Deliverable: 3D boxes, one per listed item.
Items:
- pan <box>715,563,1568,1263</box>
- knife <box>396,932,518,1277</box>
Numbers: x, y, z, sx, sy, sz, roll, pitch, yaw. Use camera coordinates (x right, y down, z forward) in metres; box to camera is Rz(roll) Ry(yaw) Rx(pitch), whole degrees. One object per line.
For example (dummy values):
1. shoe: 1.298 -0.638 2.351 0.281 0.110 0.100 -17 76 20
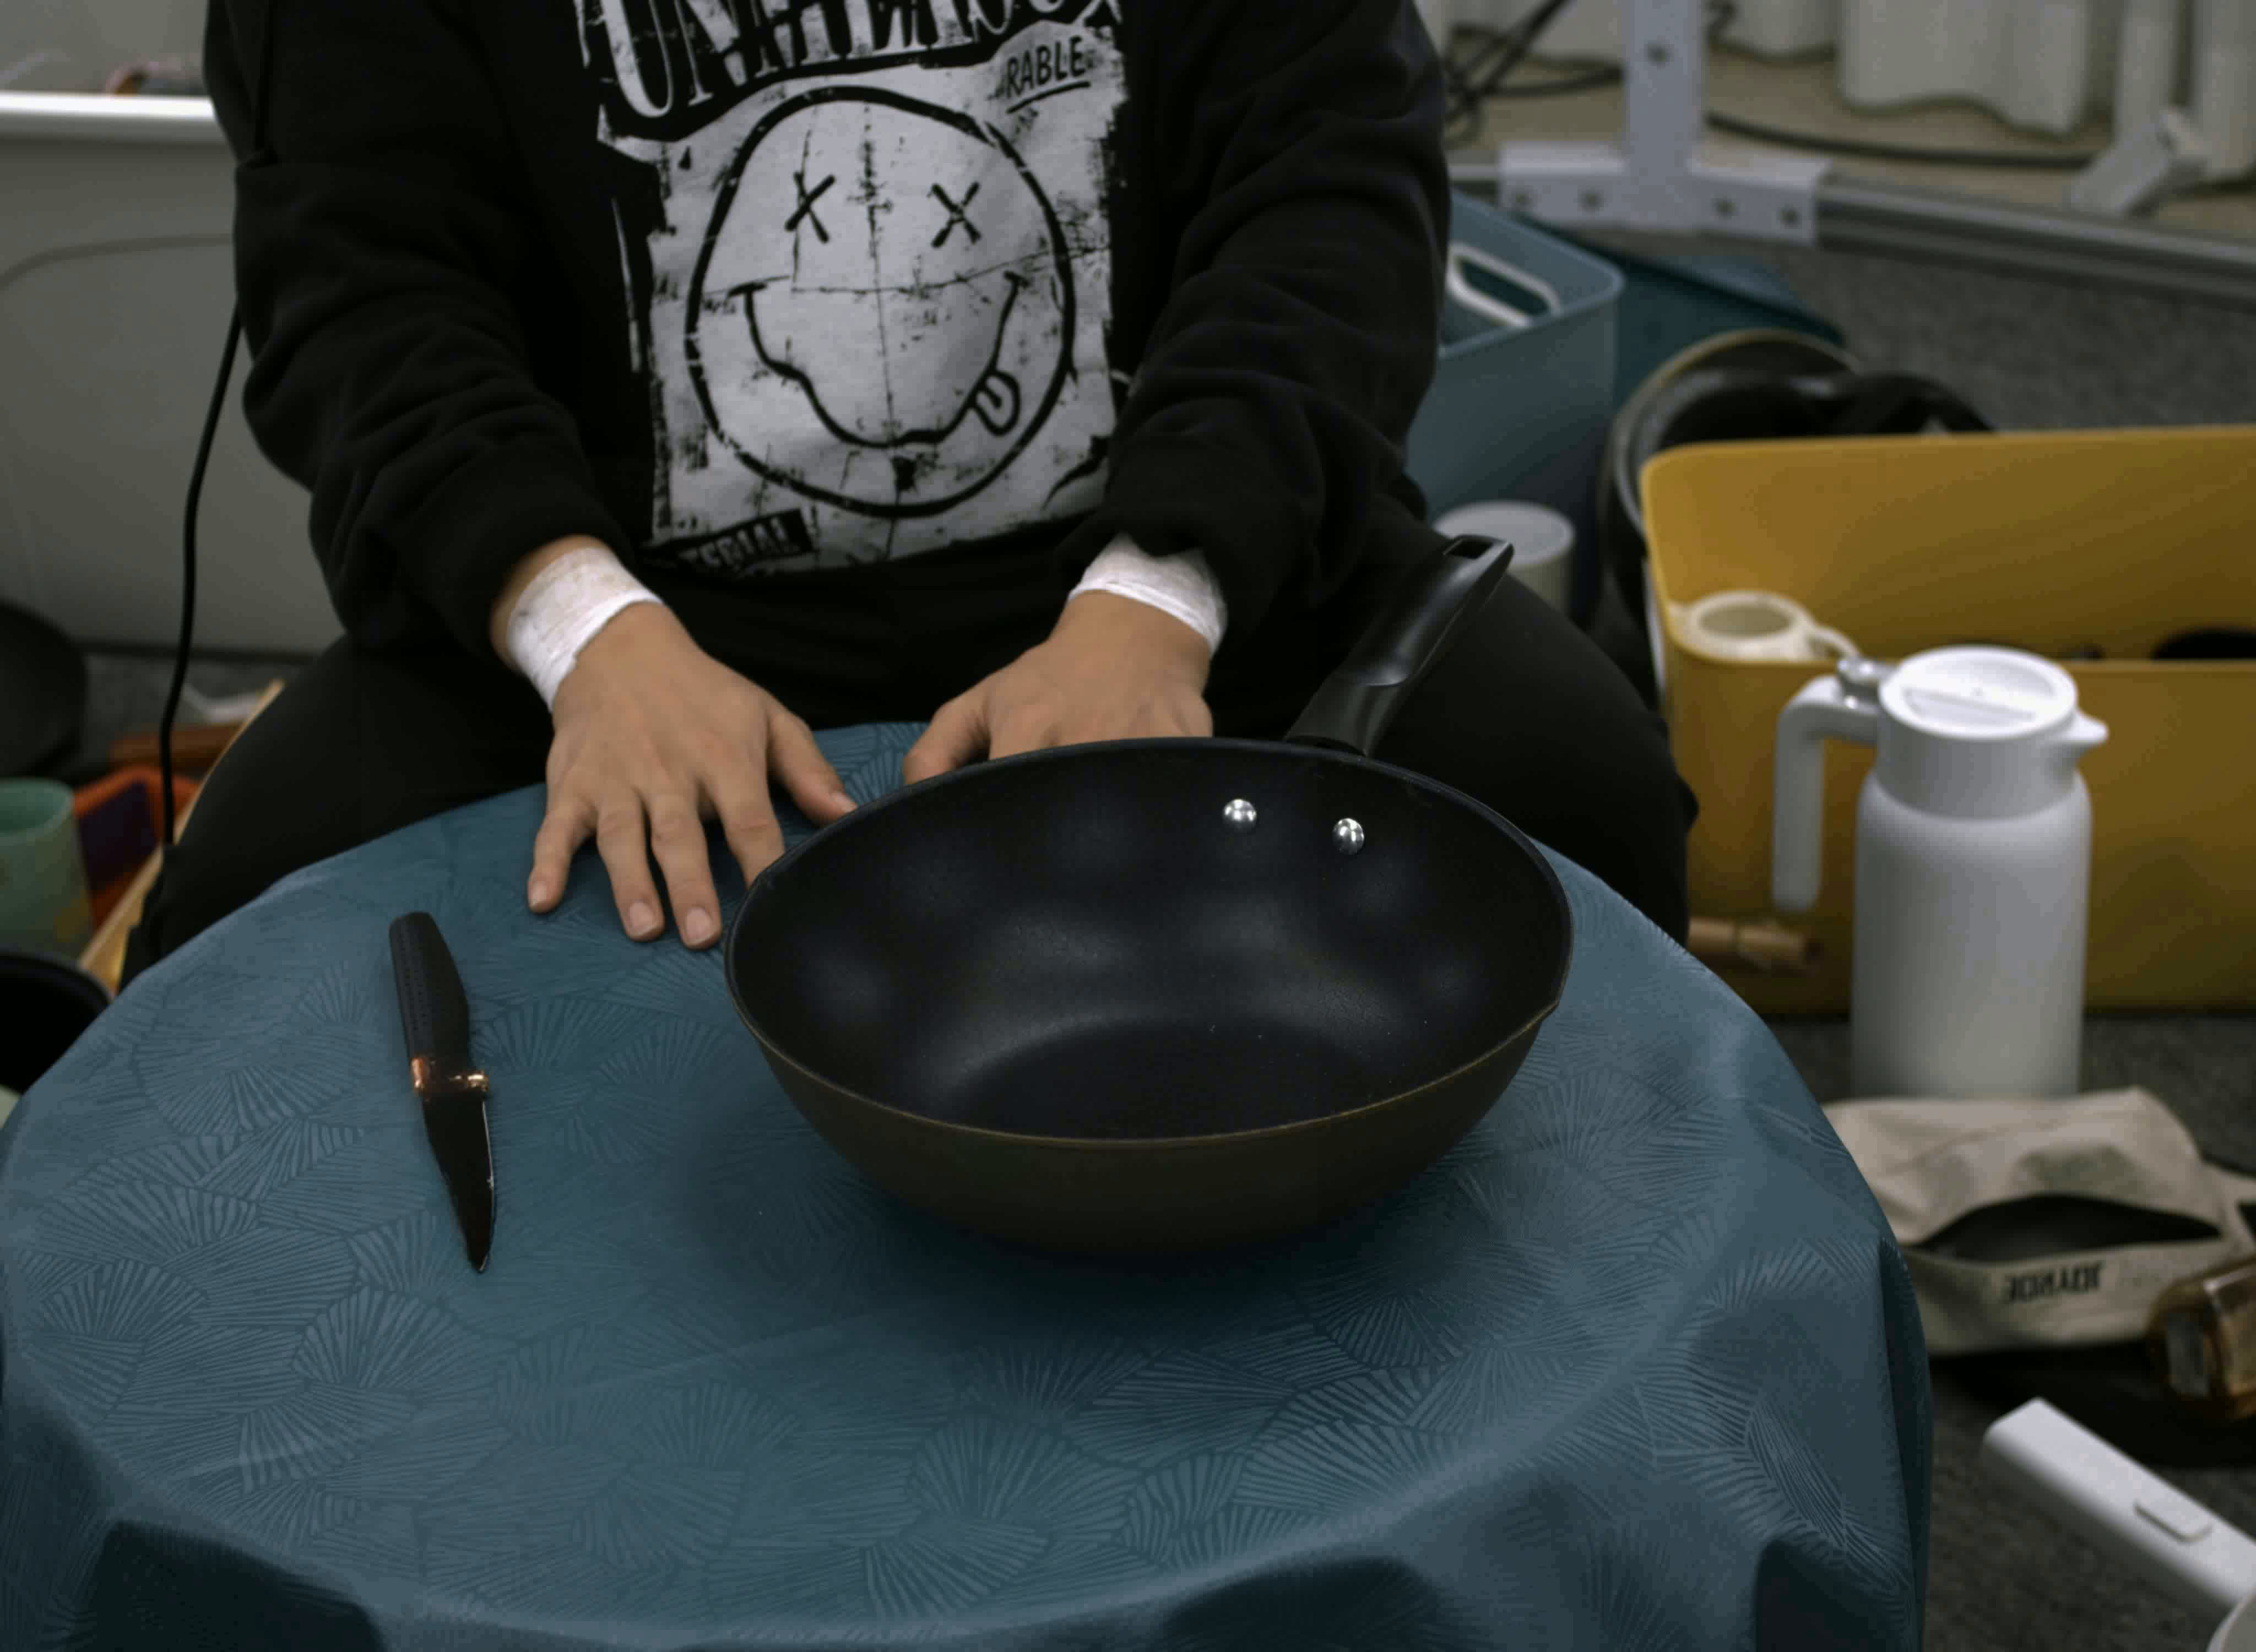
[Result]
1. pan: 0.042 0.030 1.946 0.286 0.086 0.471 9 28 22
2. knife: -0.231 0.094 1.925 0.026 0.017 0.228 7 25 -17
